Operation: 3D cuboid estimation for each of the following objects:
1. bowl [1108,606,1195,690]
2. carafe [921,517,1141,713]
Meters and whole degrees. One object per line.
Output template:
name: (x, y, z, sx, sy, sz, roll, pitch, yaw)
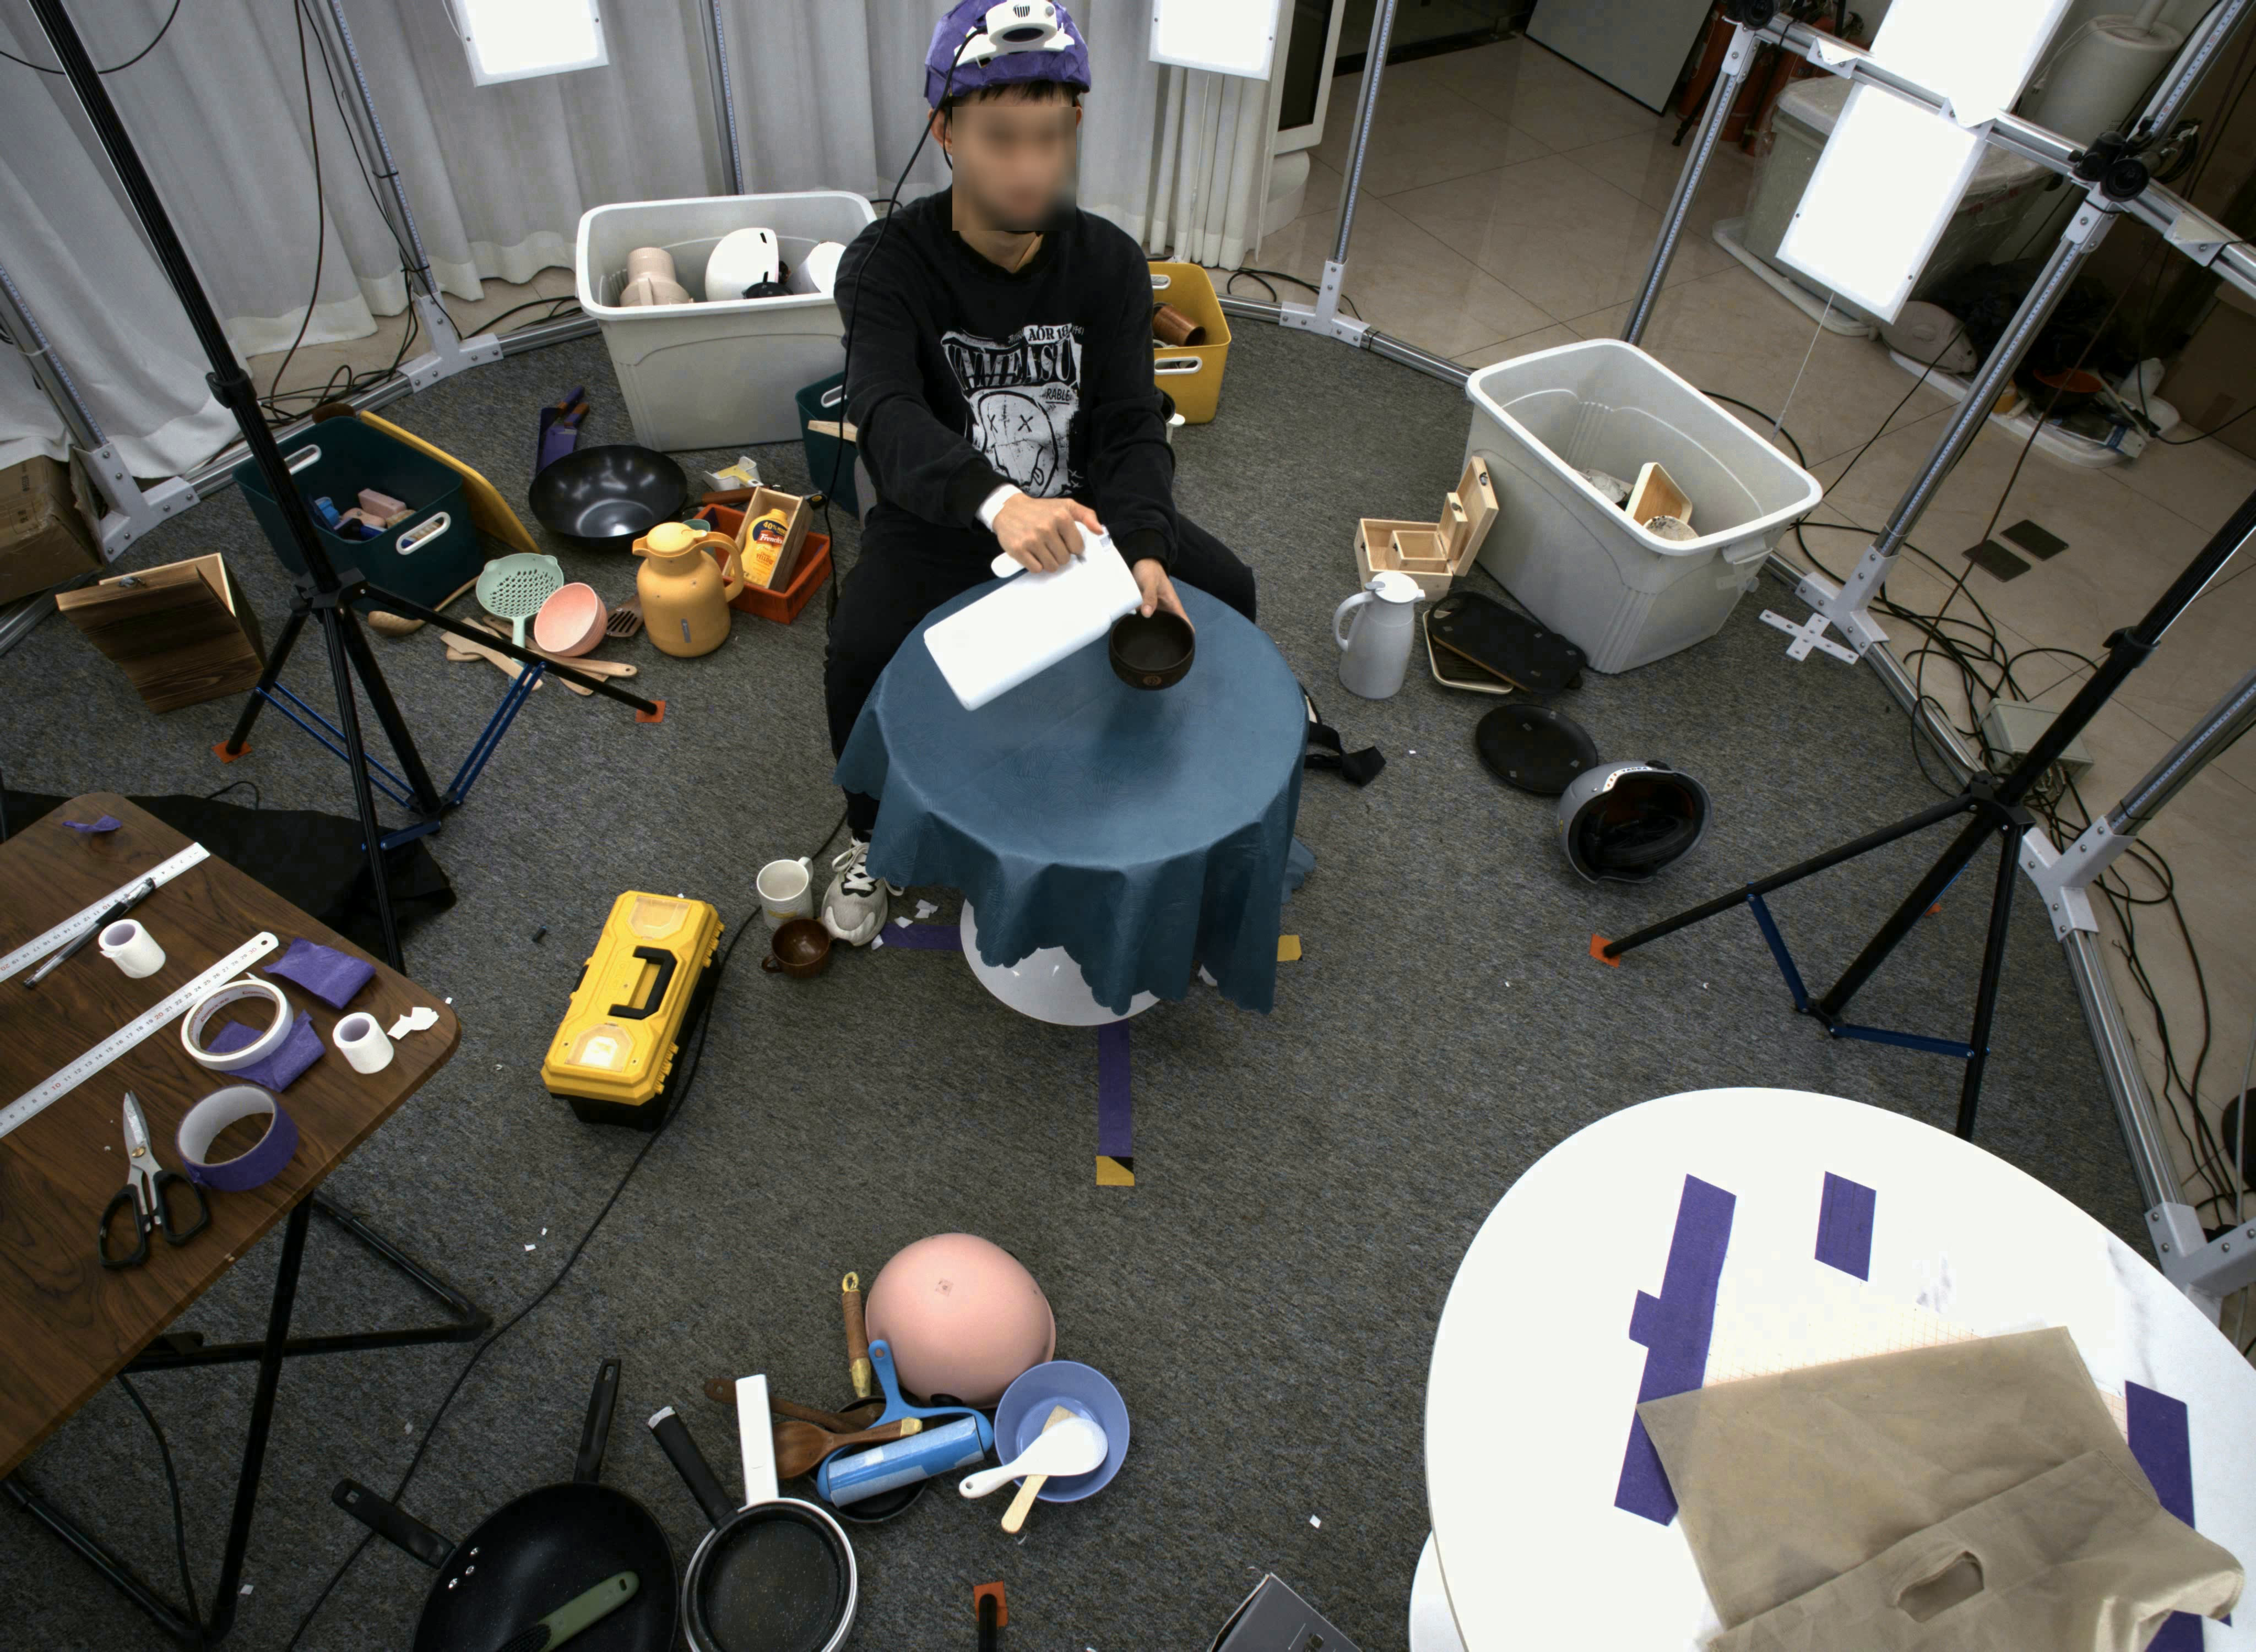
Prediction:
bowl: (0.032, -0.232, 1.738, 0.118, 0.068, 0.121, 0, 53, 0)
carafe: (-0.126, -0.266, 1.615, 0.269, 0.169, 0.127, -29, 47, 0)
